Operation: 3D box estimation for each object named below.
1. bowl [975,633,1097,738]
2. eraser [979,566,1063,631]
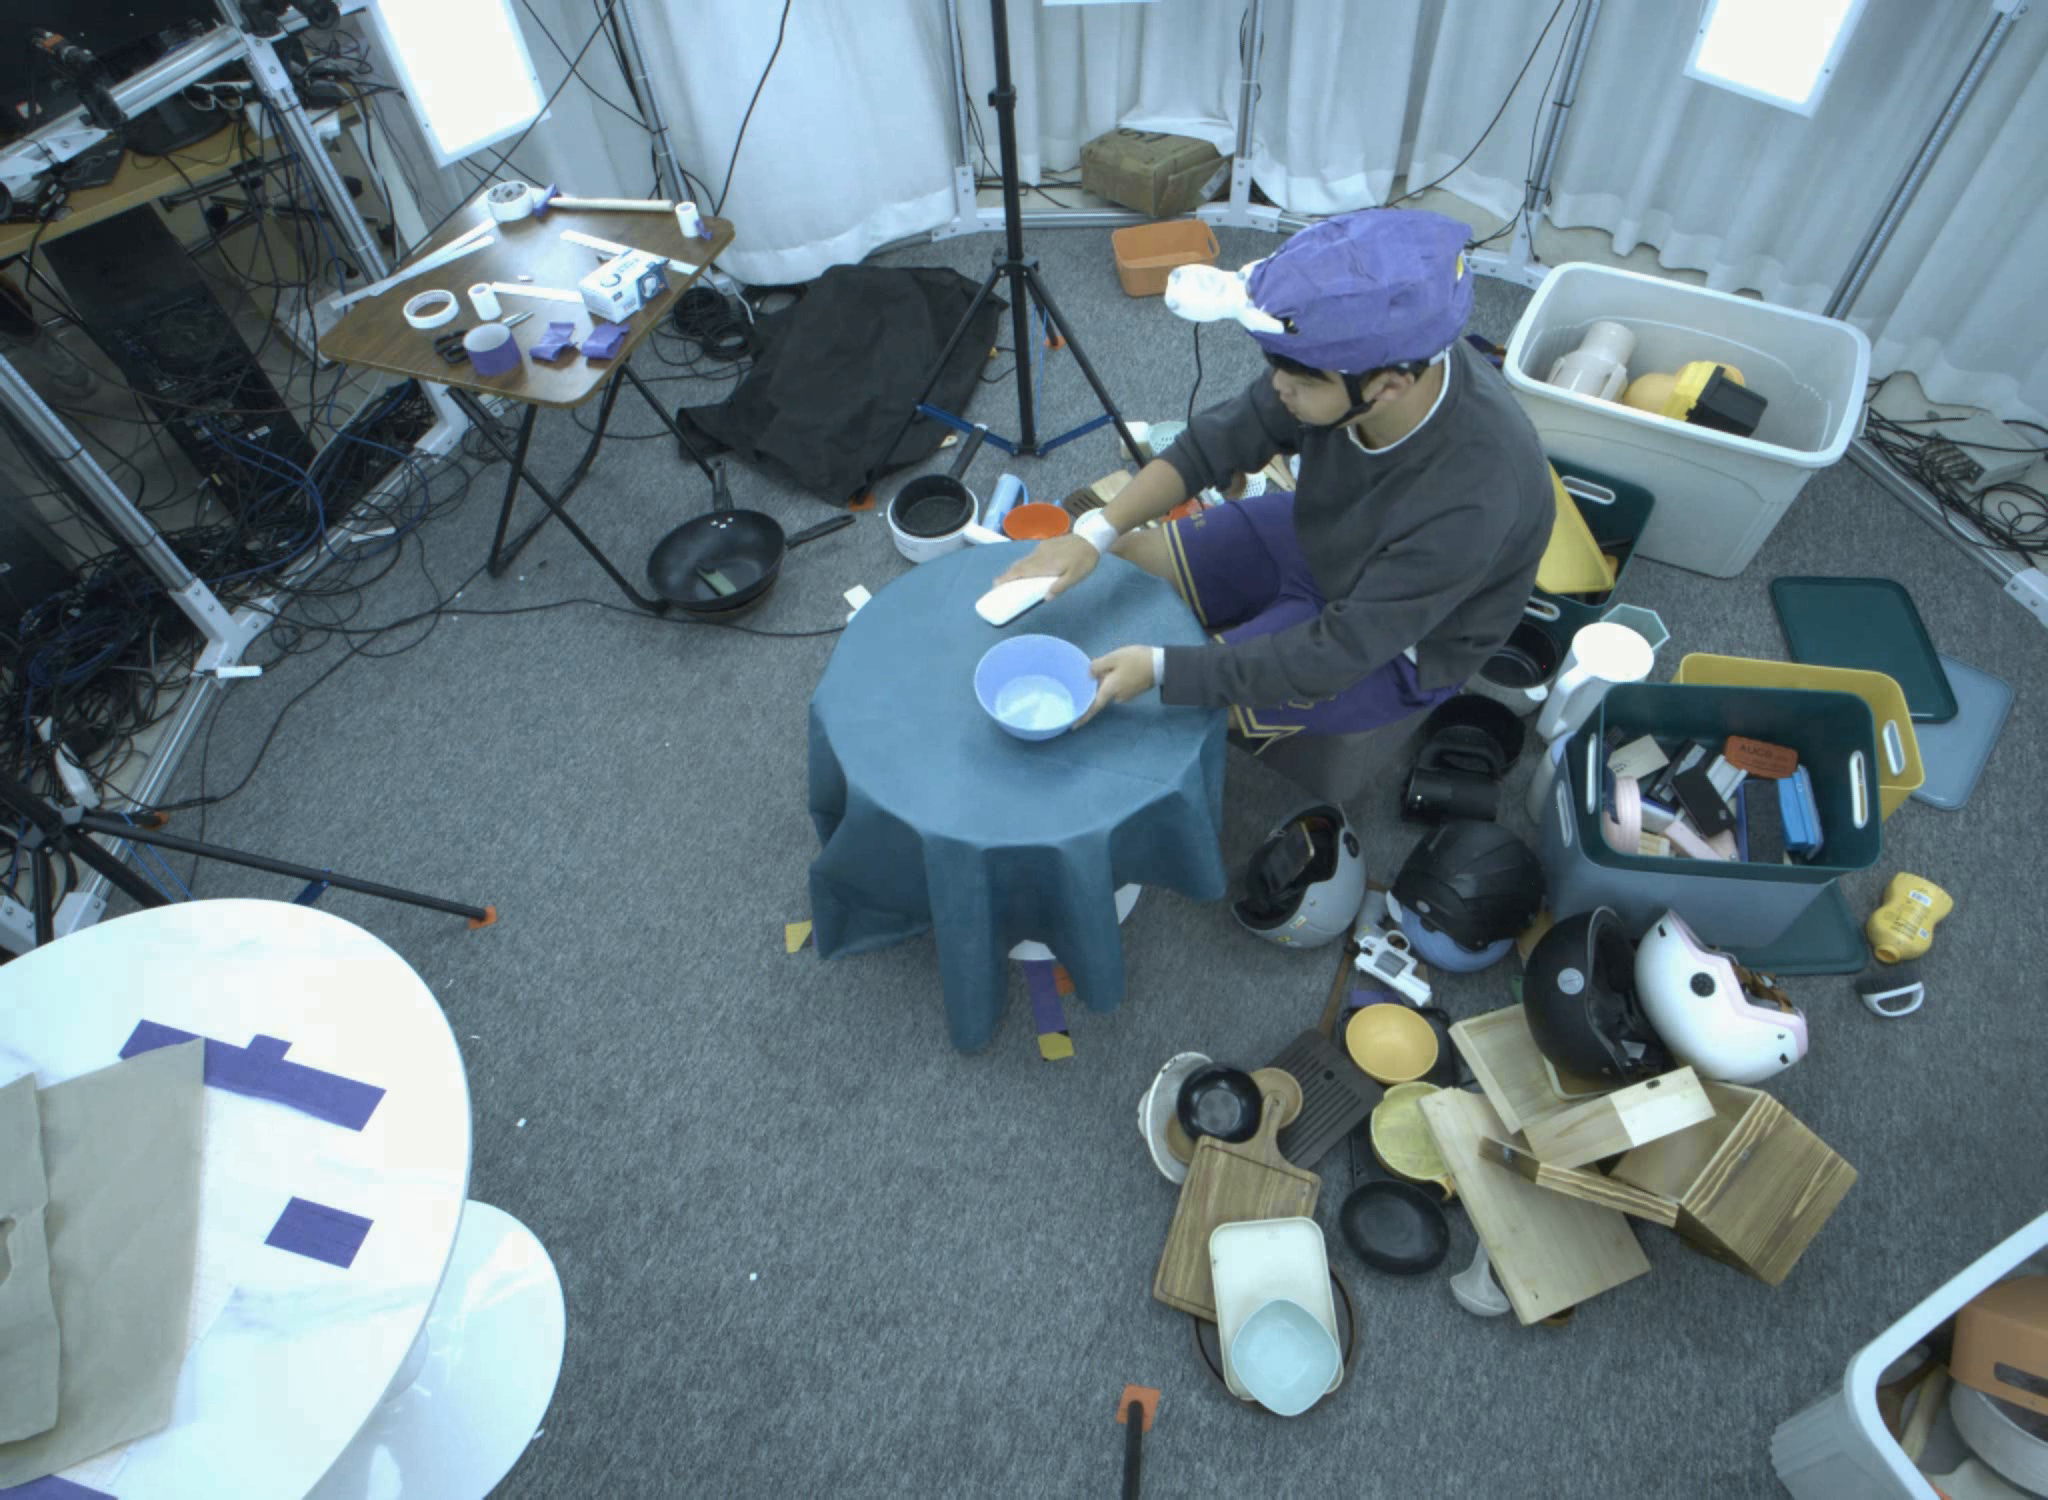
[{"bbox_3d":[0.016,-0.083,1.791,0.176,0.071,0.174,2,56,-2],"label":"bowl"},{"bbox_3d":[-0.004,-0.230,1.842,0.132,0.035,0.062,-36,45,-17],"label":"eraser"}]
